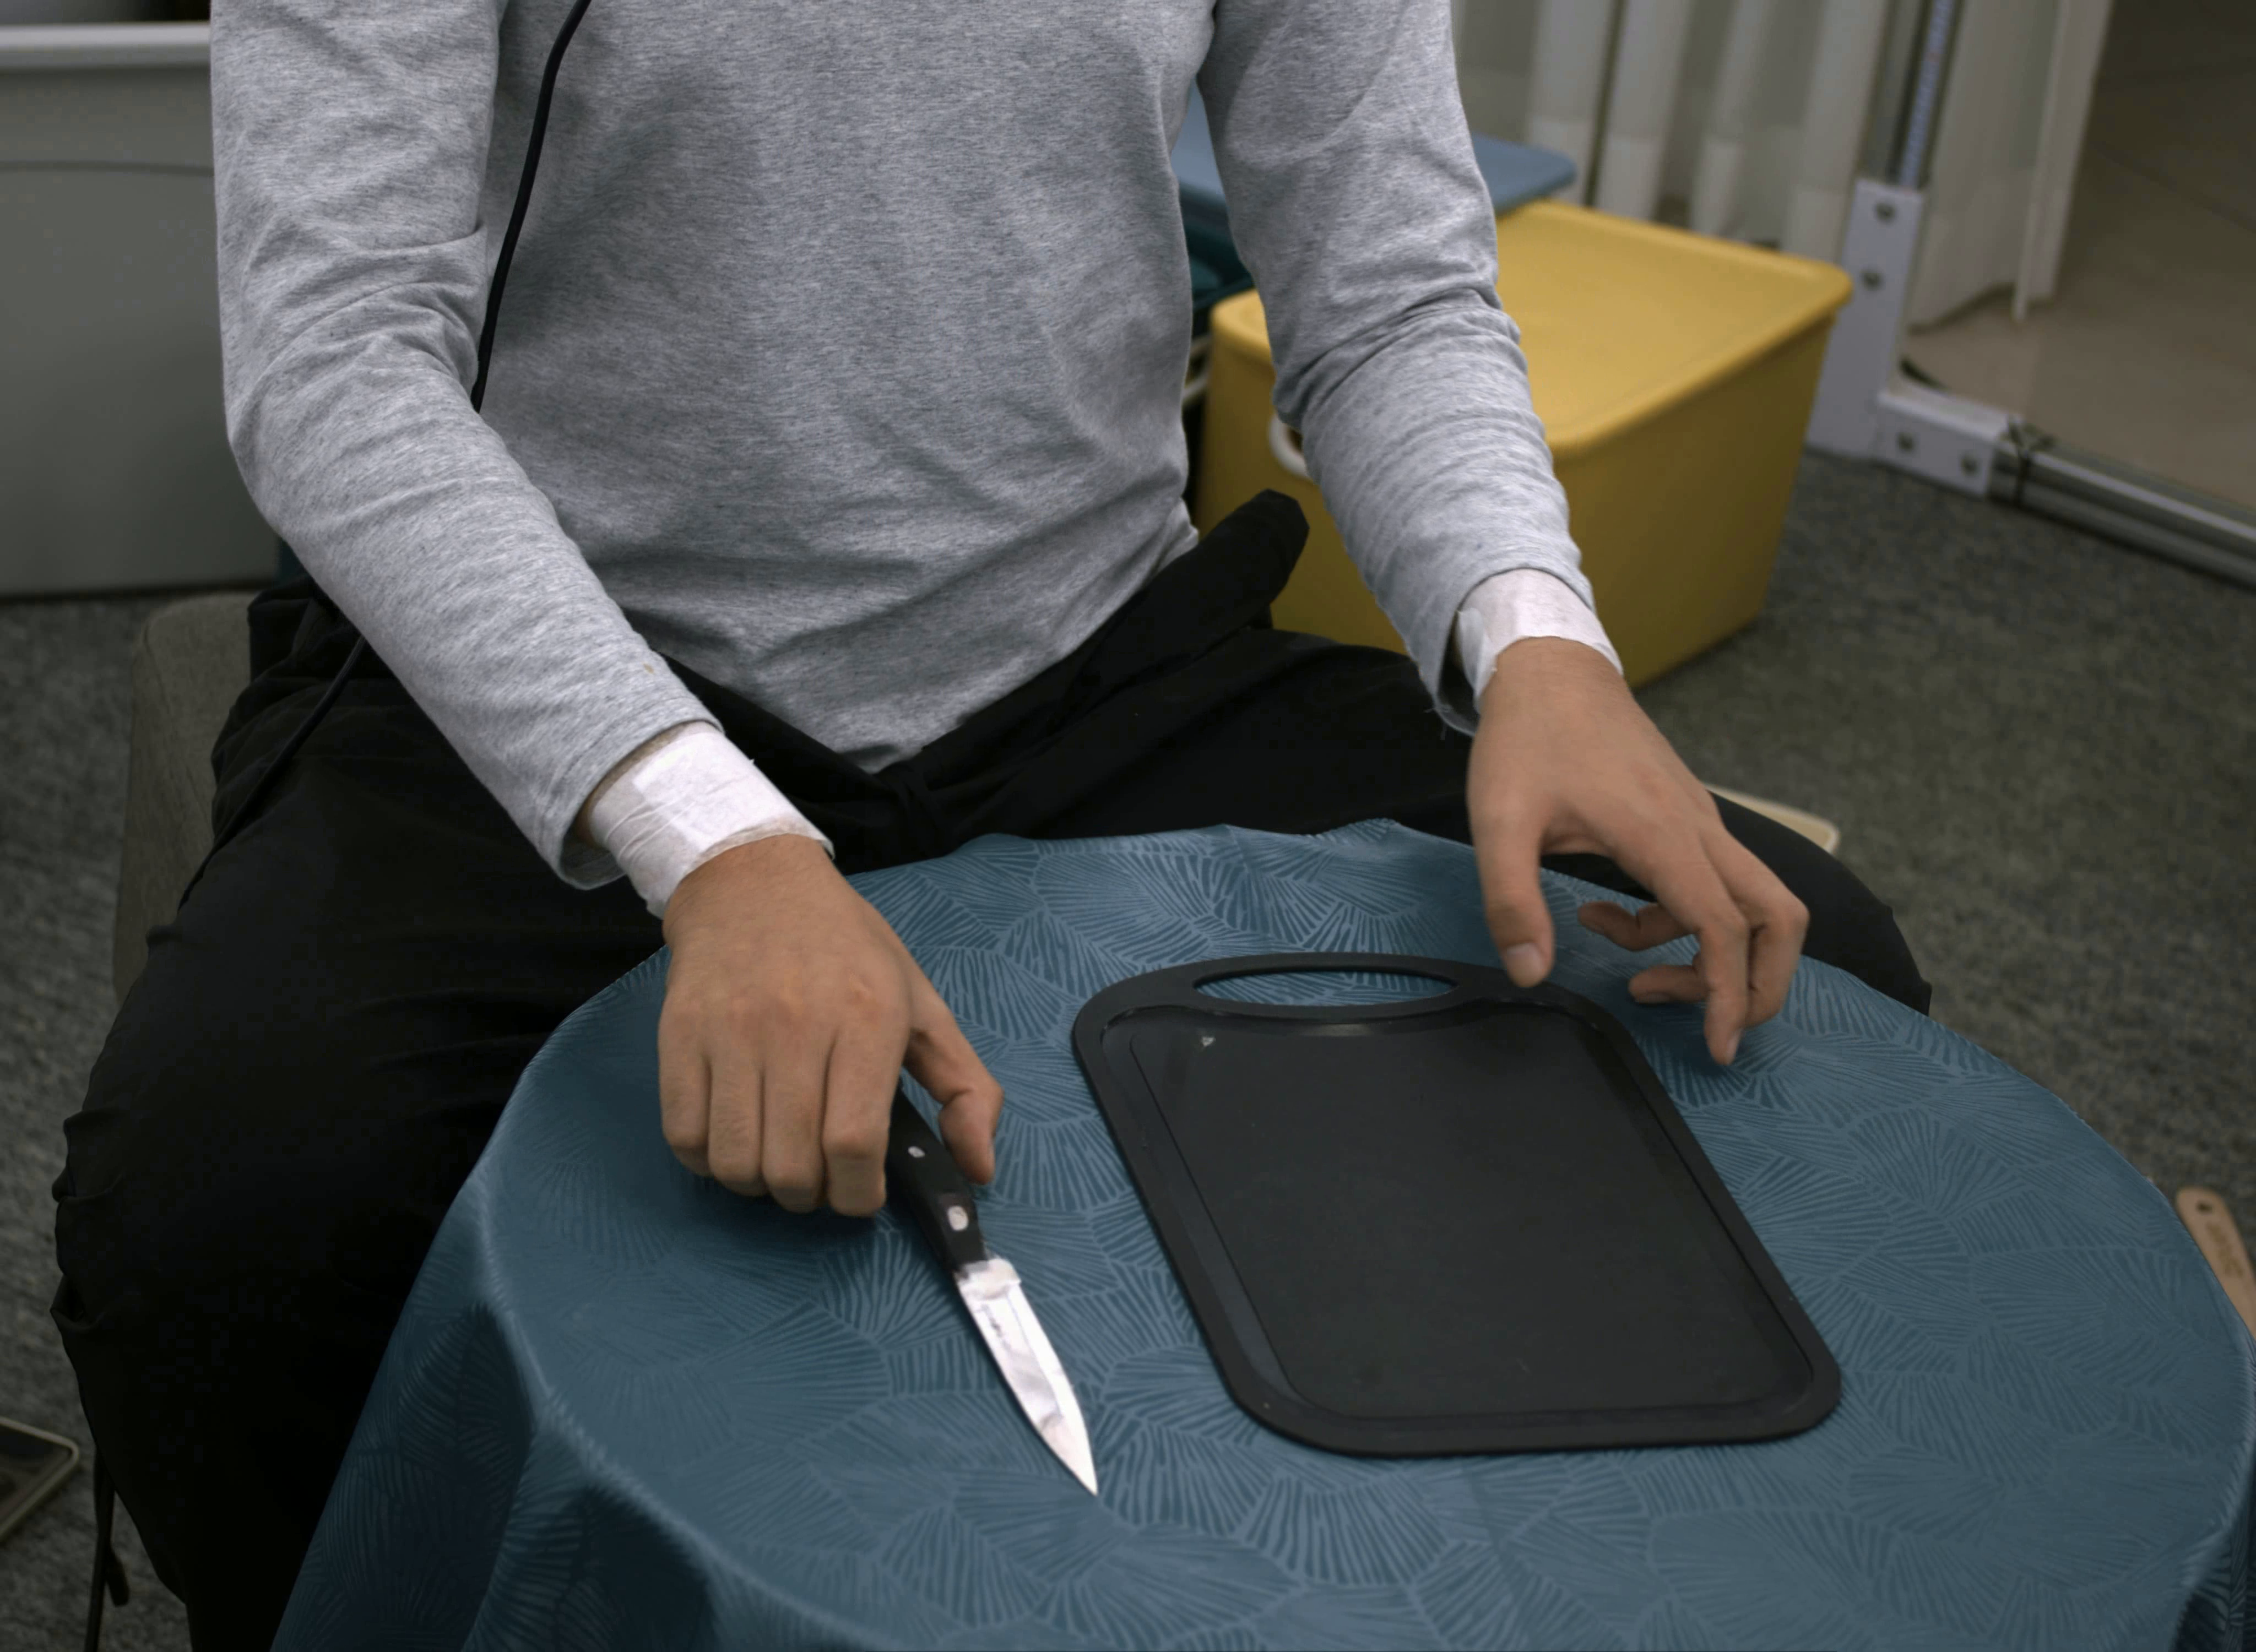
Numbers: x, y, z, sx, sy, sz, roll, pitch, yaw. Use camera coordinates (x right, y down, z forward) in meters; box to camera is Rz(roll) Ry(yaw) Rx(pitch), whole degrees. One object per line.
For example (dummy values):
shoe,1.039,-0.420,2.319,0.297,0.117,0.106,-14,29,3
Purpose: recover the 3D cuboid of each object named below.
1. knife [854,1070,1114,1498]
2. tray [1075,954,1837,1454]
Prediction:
knife,-0.049,0.148,1.734,0.024,0.016,0.240,-5,32,-20
tray,0.104,0.122,1.827,0.210,0.010,0.328,0,27,-14
